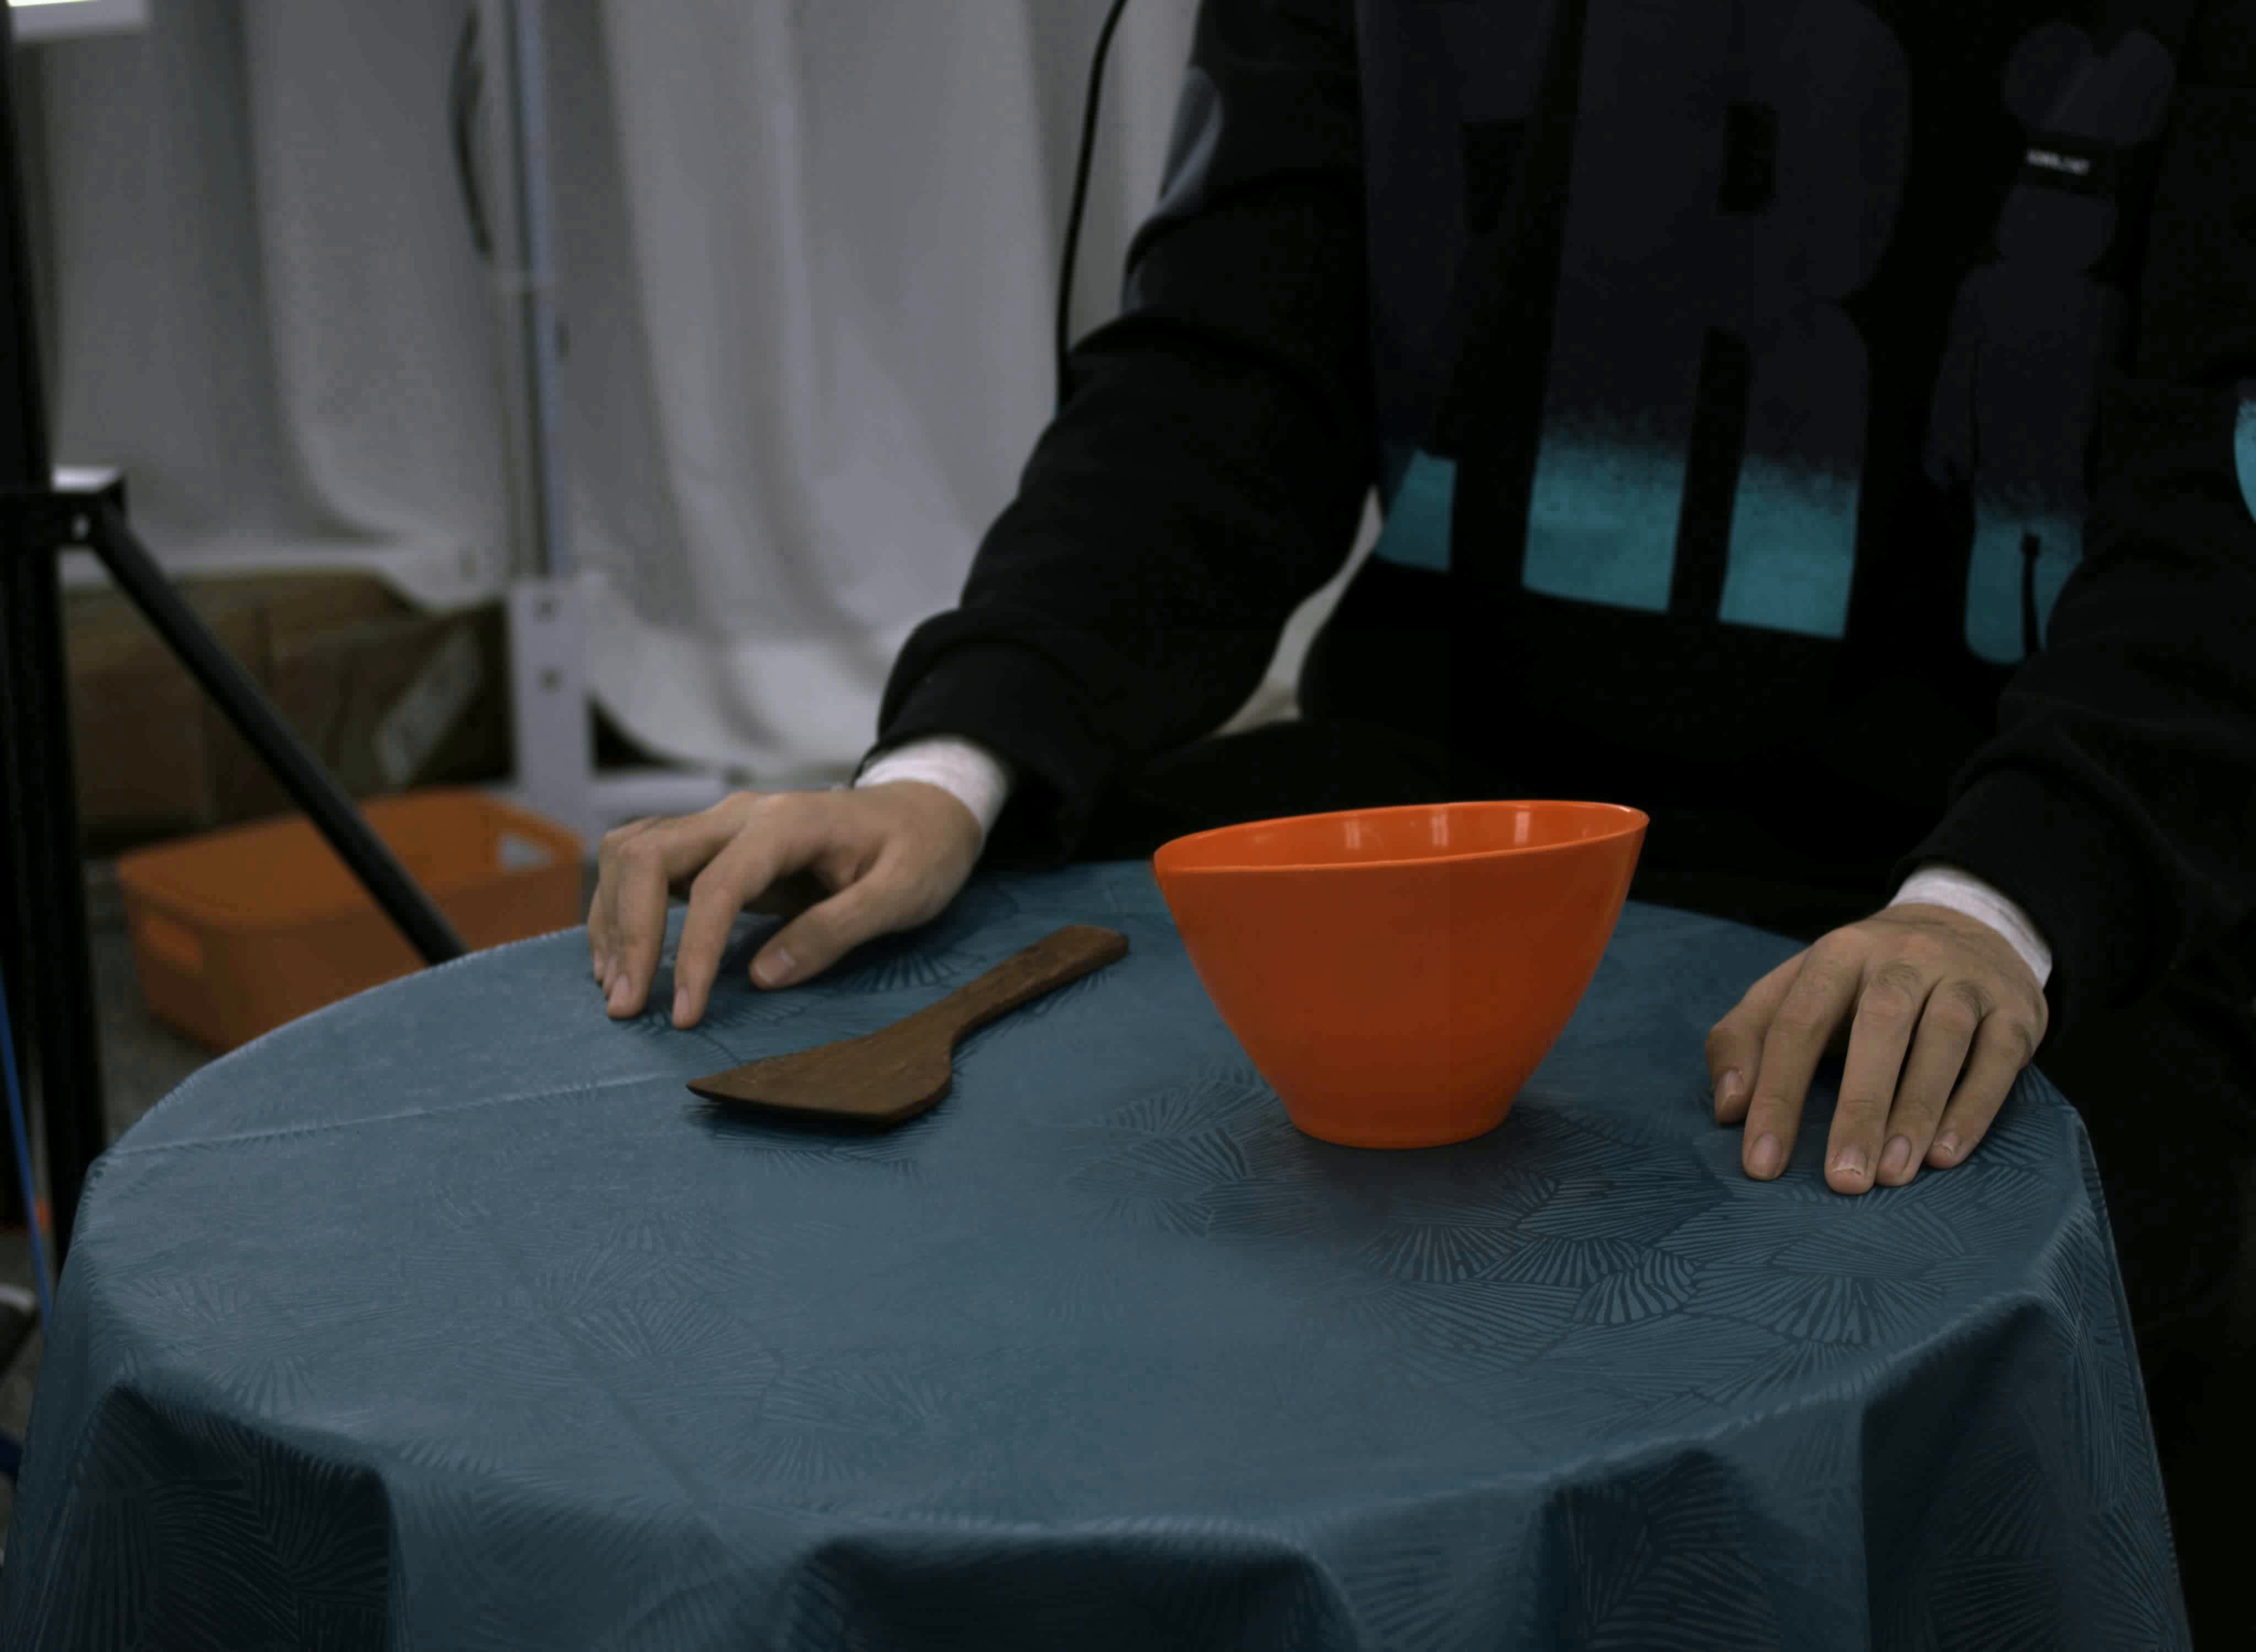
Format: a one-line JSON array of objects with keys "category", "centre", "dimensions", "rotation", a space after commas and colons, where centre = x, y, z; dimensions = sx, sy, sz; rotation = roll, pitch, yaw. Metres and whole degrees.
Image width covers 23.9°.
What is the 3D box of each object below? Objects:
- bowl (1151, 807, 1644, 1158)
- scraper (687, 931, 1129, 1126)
[{"category": "bowl", "centre": [0.082, 0.044, 1.591], "dimensions": [0.147, 0.104, 0.149], "rotation": [-3, 14, -1]}, {"category": "scraper", "centre": [-0.058, 0.064, 1.711], "dimensions": [0.077, 0.011, 0.207], "rotation": [7, 18, 28]}]
